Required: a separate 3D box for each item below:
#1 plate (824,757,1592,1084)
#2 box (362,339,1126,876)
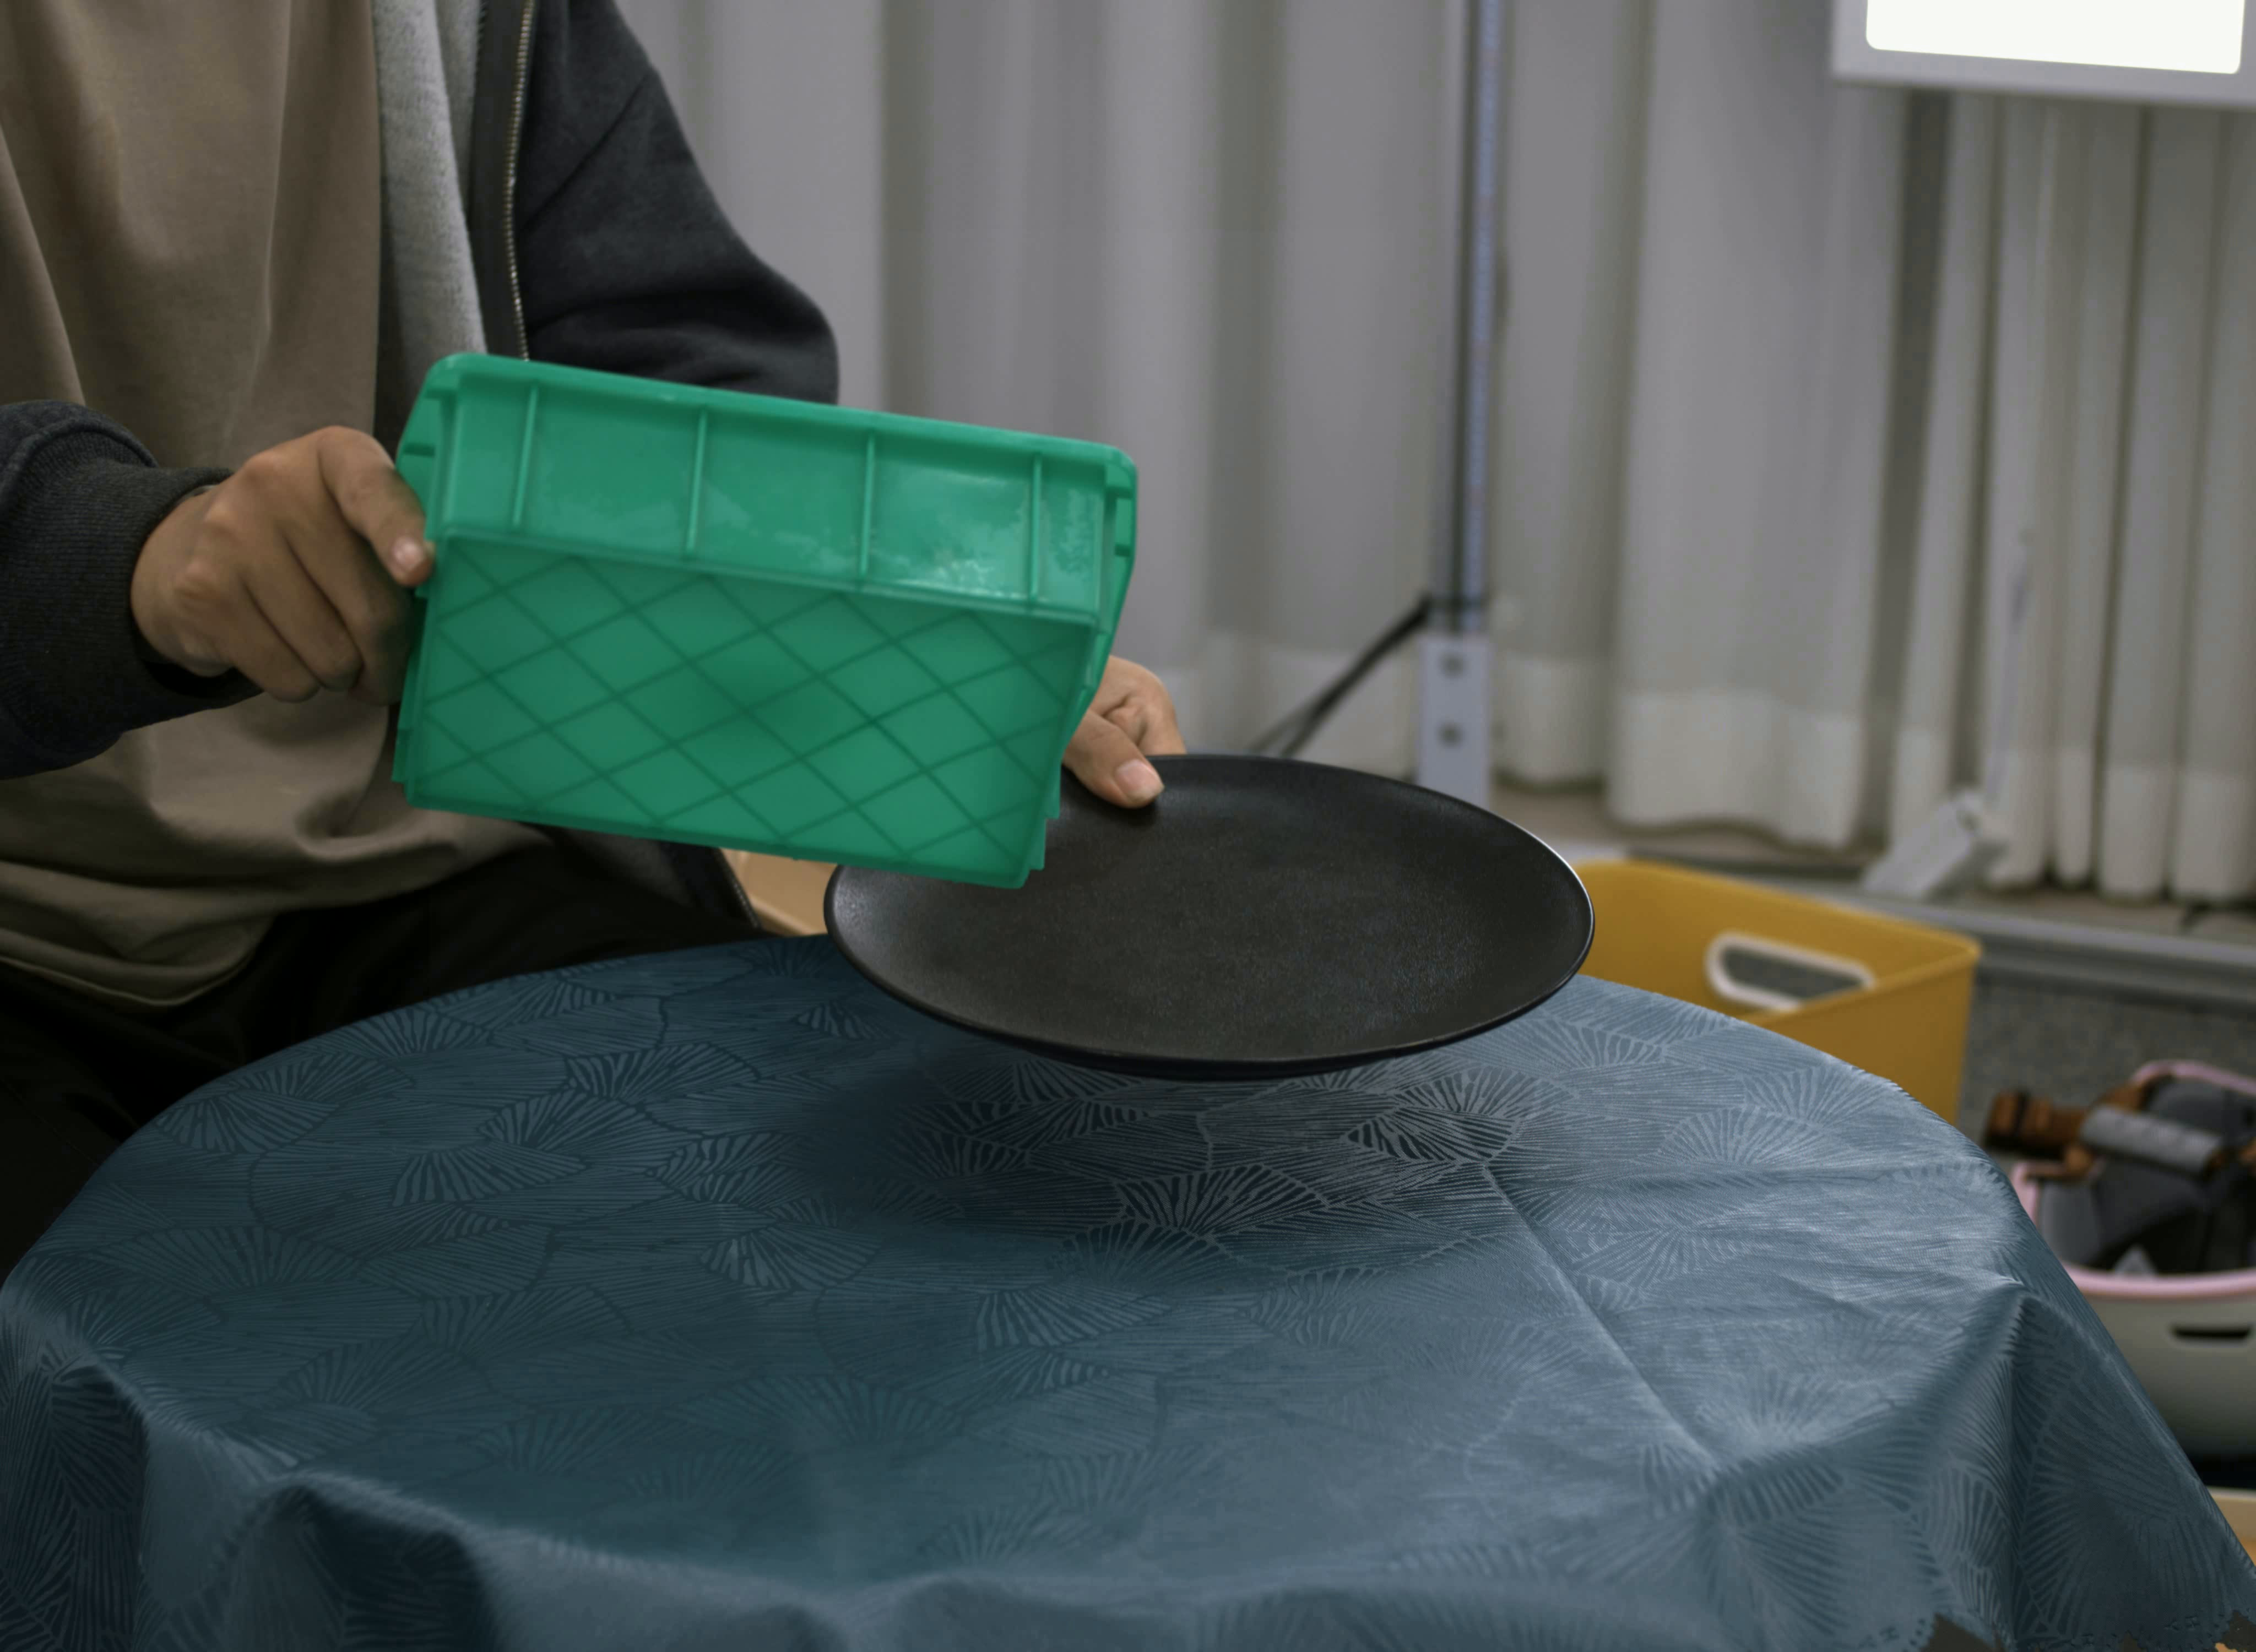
[{"bbox_3d":[0.025,0.033,1.668,0.243,0.023,0.242,1,23,0],"label":"plate"},{"bbox_3d":[-0.109,-0.055,1.469,0.210,0.140,0.065,6,49,-11],"label":"box"}]
